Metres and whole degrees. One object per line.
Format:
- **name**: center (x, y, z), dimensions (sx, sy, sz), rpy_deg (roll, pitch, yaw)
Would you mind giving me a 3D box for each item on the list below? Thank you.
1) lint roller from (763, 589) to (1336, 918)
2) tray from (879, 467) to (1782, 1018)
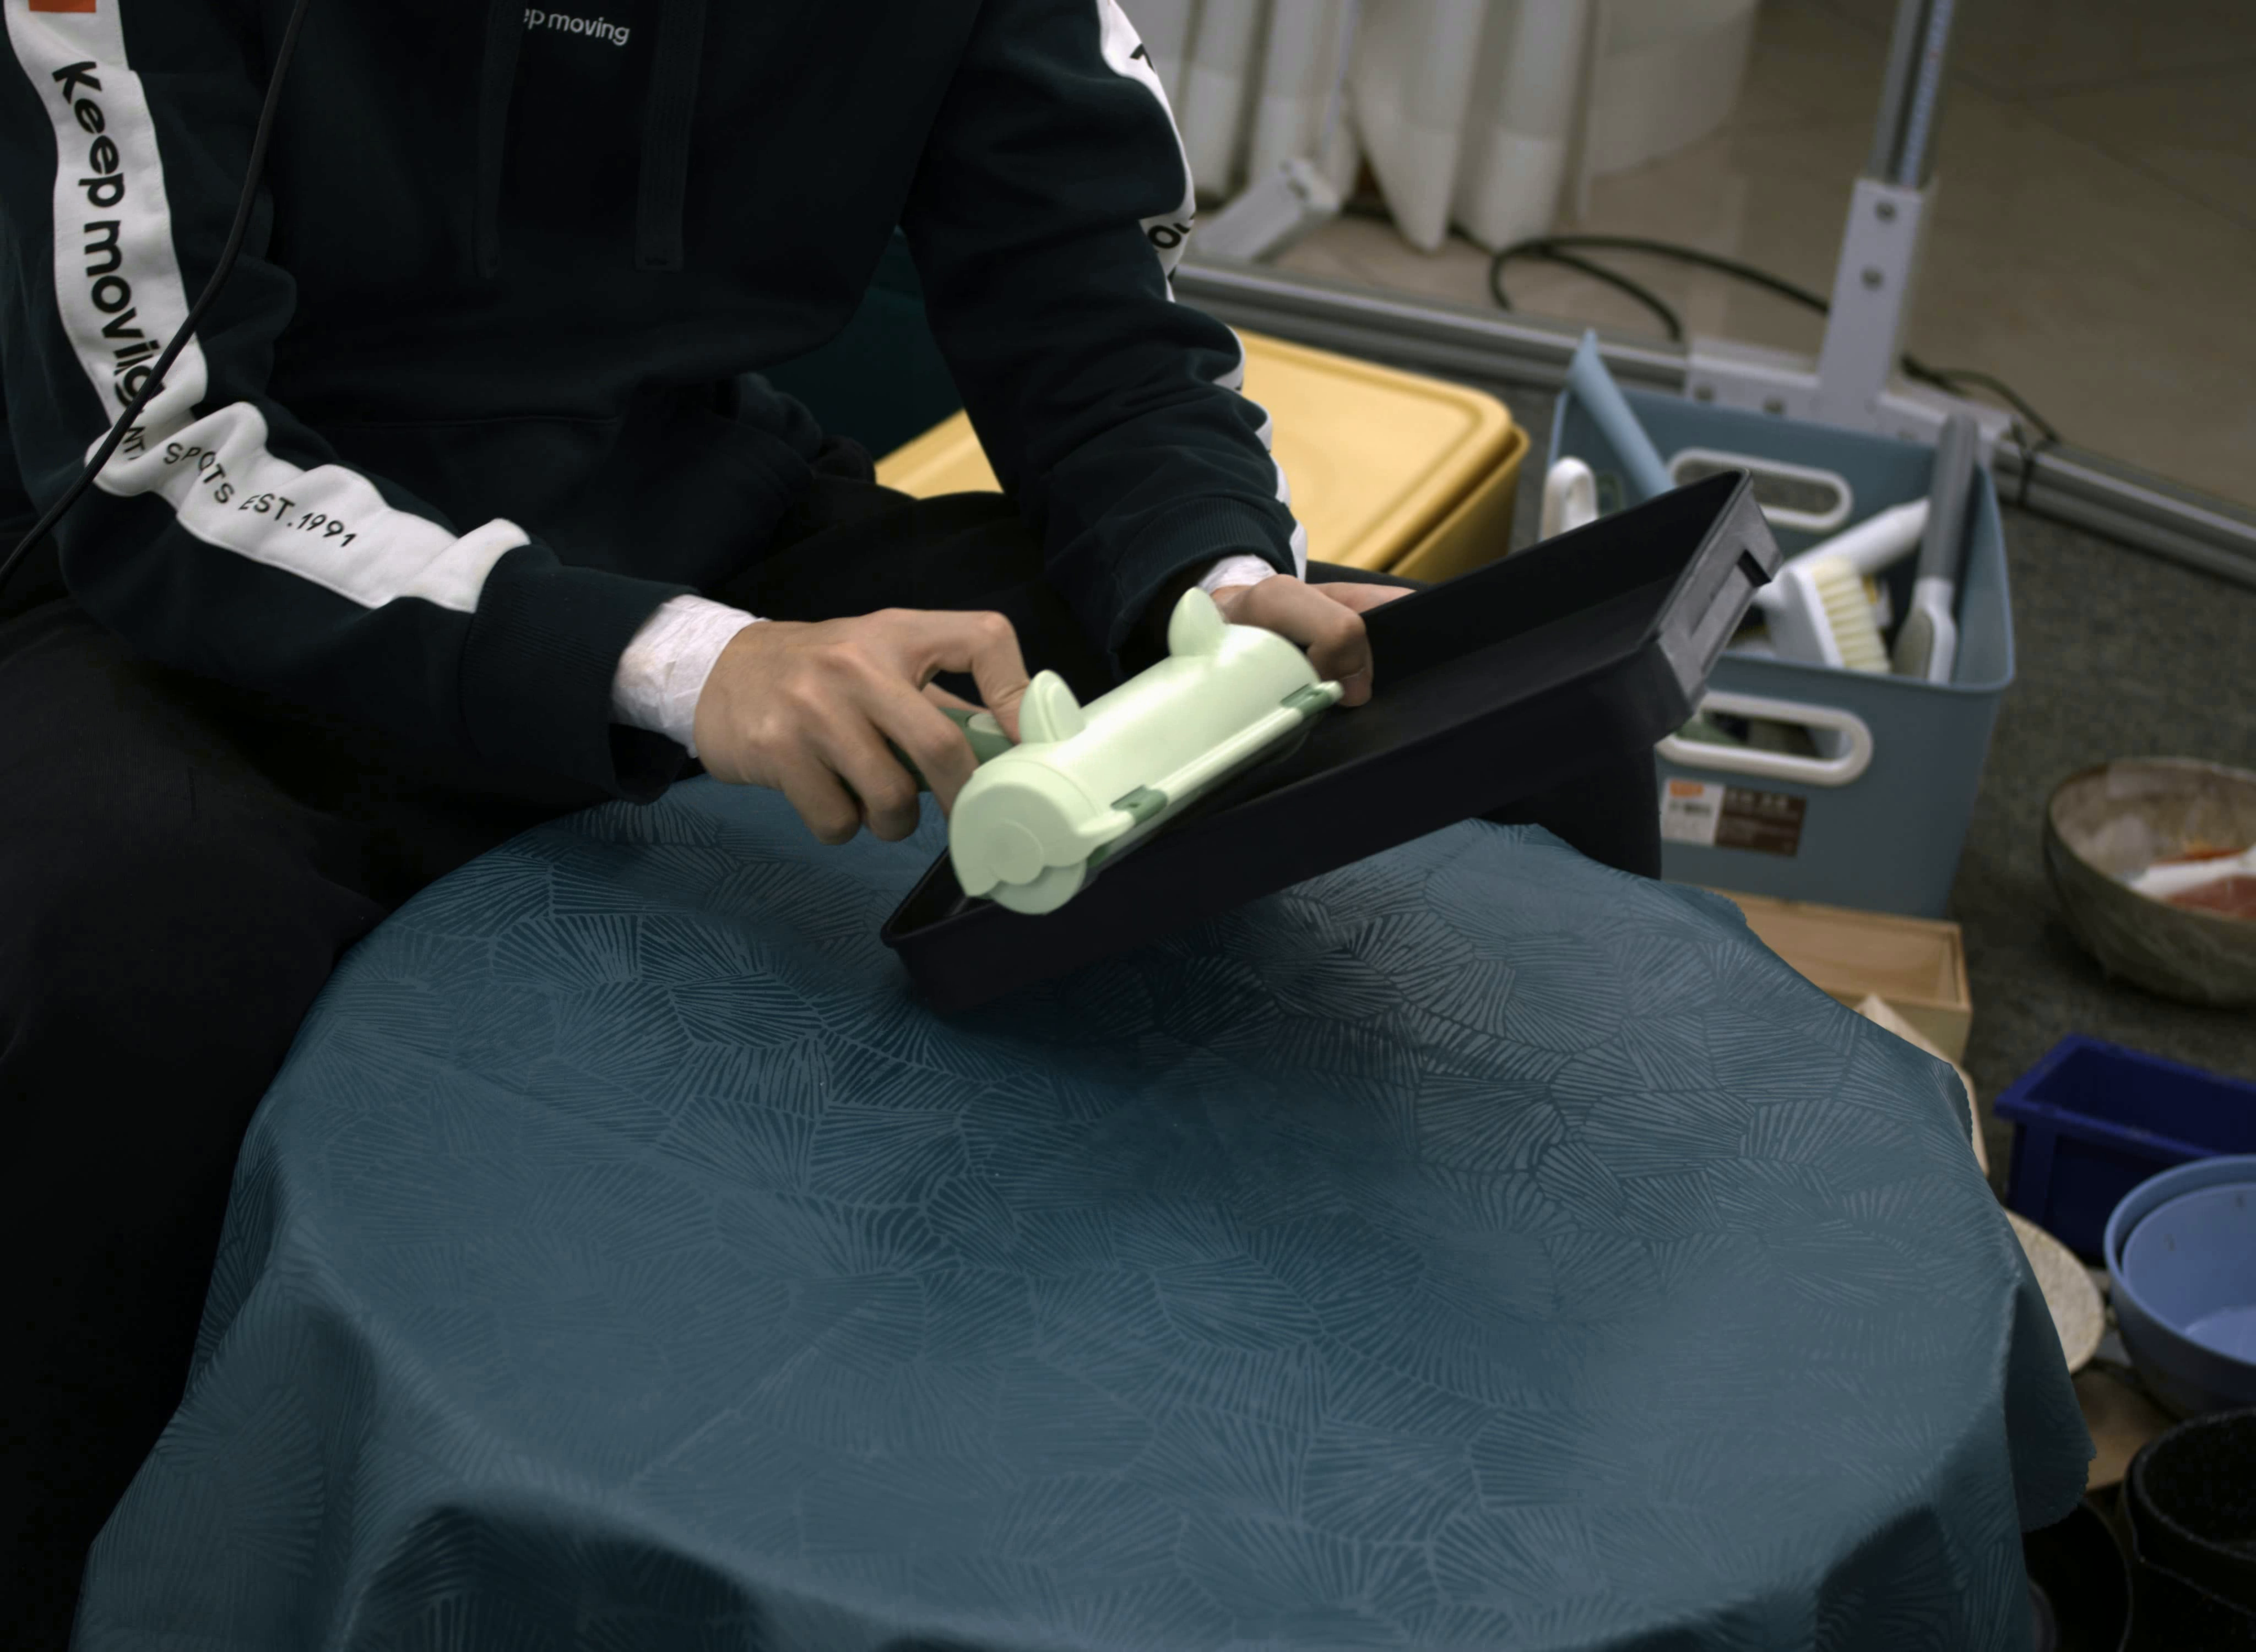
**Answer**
- **lint roller**: center (-0.046, -0.038, 1.863), dimensions (0.184, 0.082, 0.198), rpy_deg (13, 22, 24)
- **tray**: center (0.072, -0.029, 1.885), dimensions (0.318, 0.037, 0.184), rpy_deg (-22, 16, 28)
